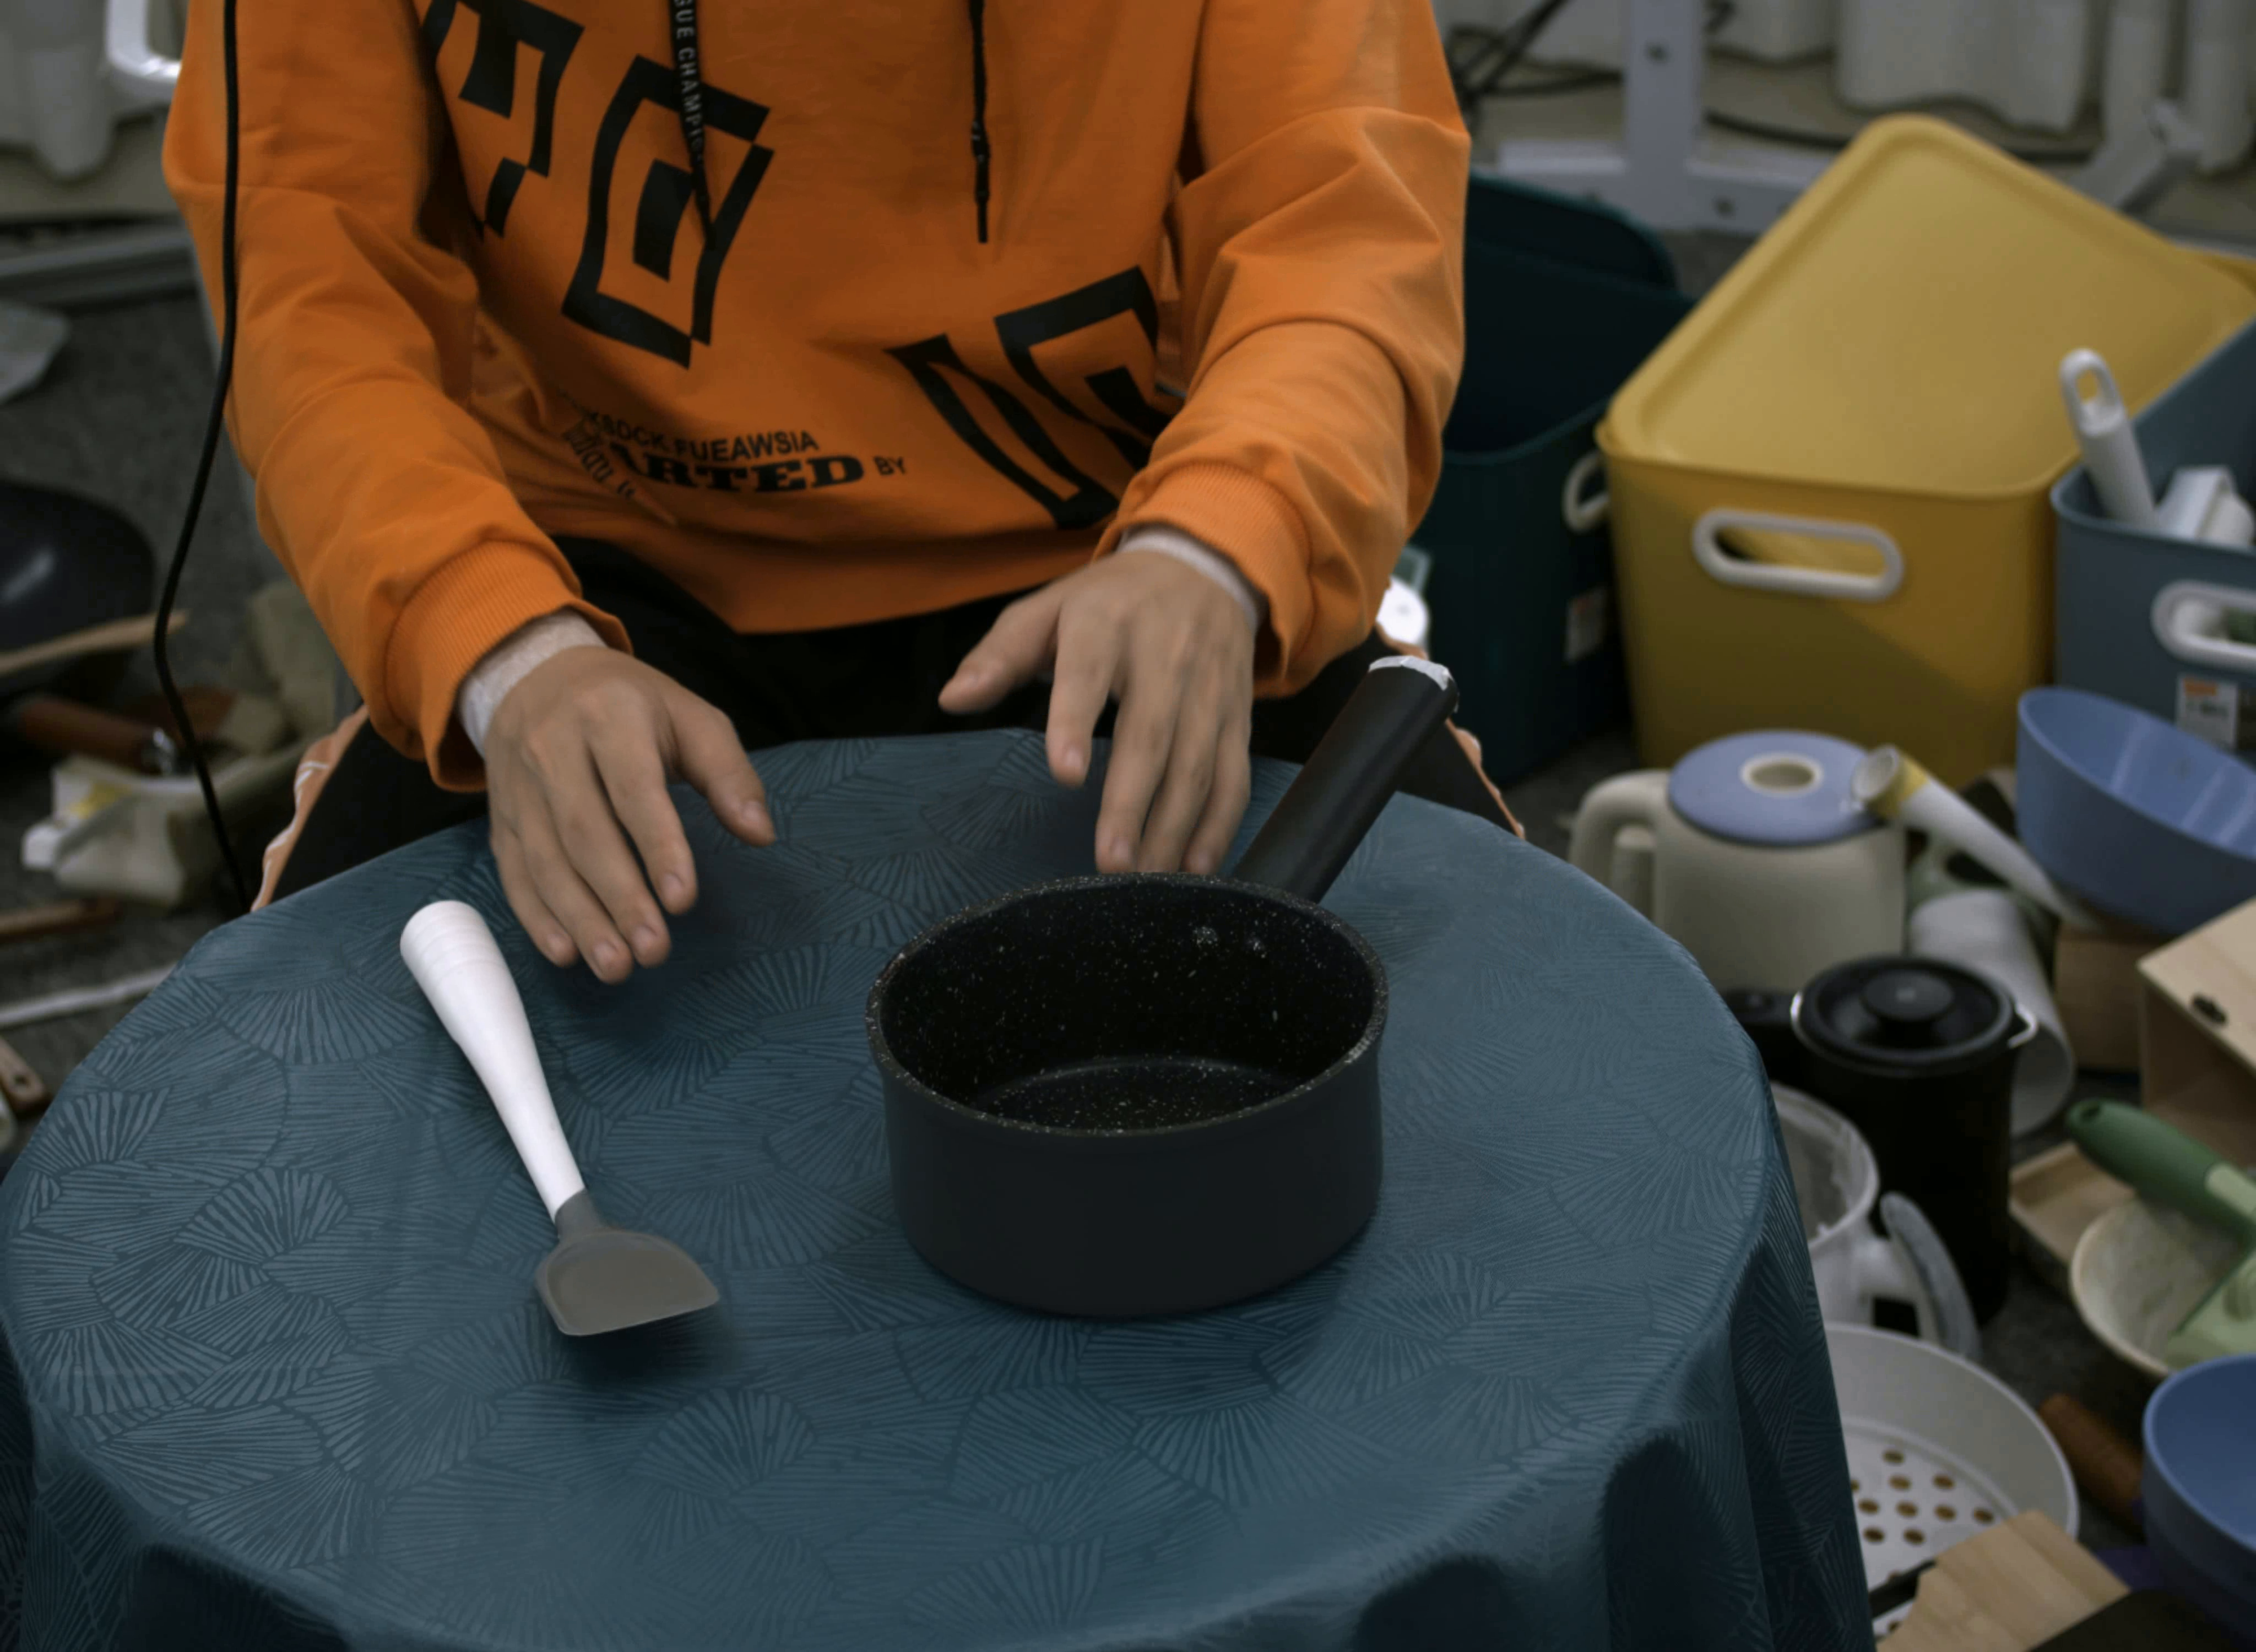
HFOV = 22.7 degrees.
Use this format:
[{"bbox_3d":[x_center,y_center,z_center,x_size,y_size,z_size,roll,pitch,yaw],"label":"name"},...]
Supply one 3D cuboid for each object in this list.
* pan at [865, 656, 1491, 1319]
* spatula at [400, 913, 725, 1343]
[{"bbox_3d":[0.038,0.050,1.905,0.171,0.085,0.334,12,33,25],"label":"pan"},{"bbox_3d":[-0.196,0.105,1.880,0.059,0.032,0.290,-7,27,-18],"label":"spatula"}]
